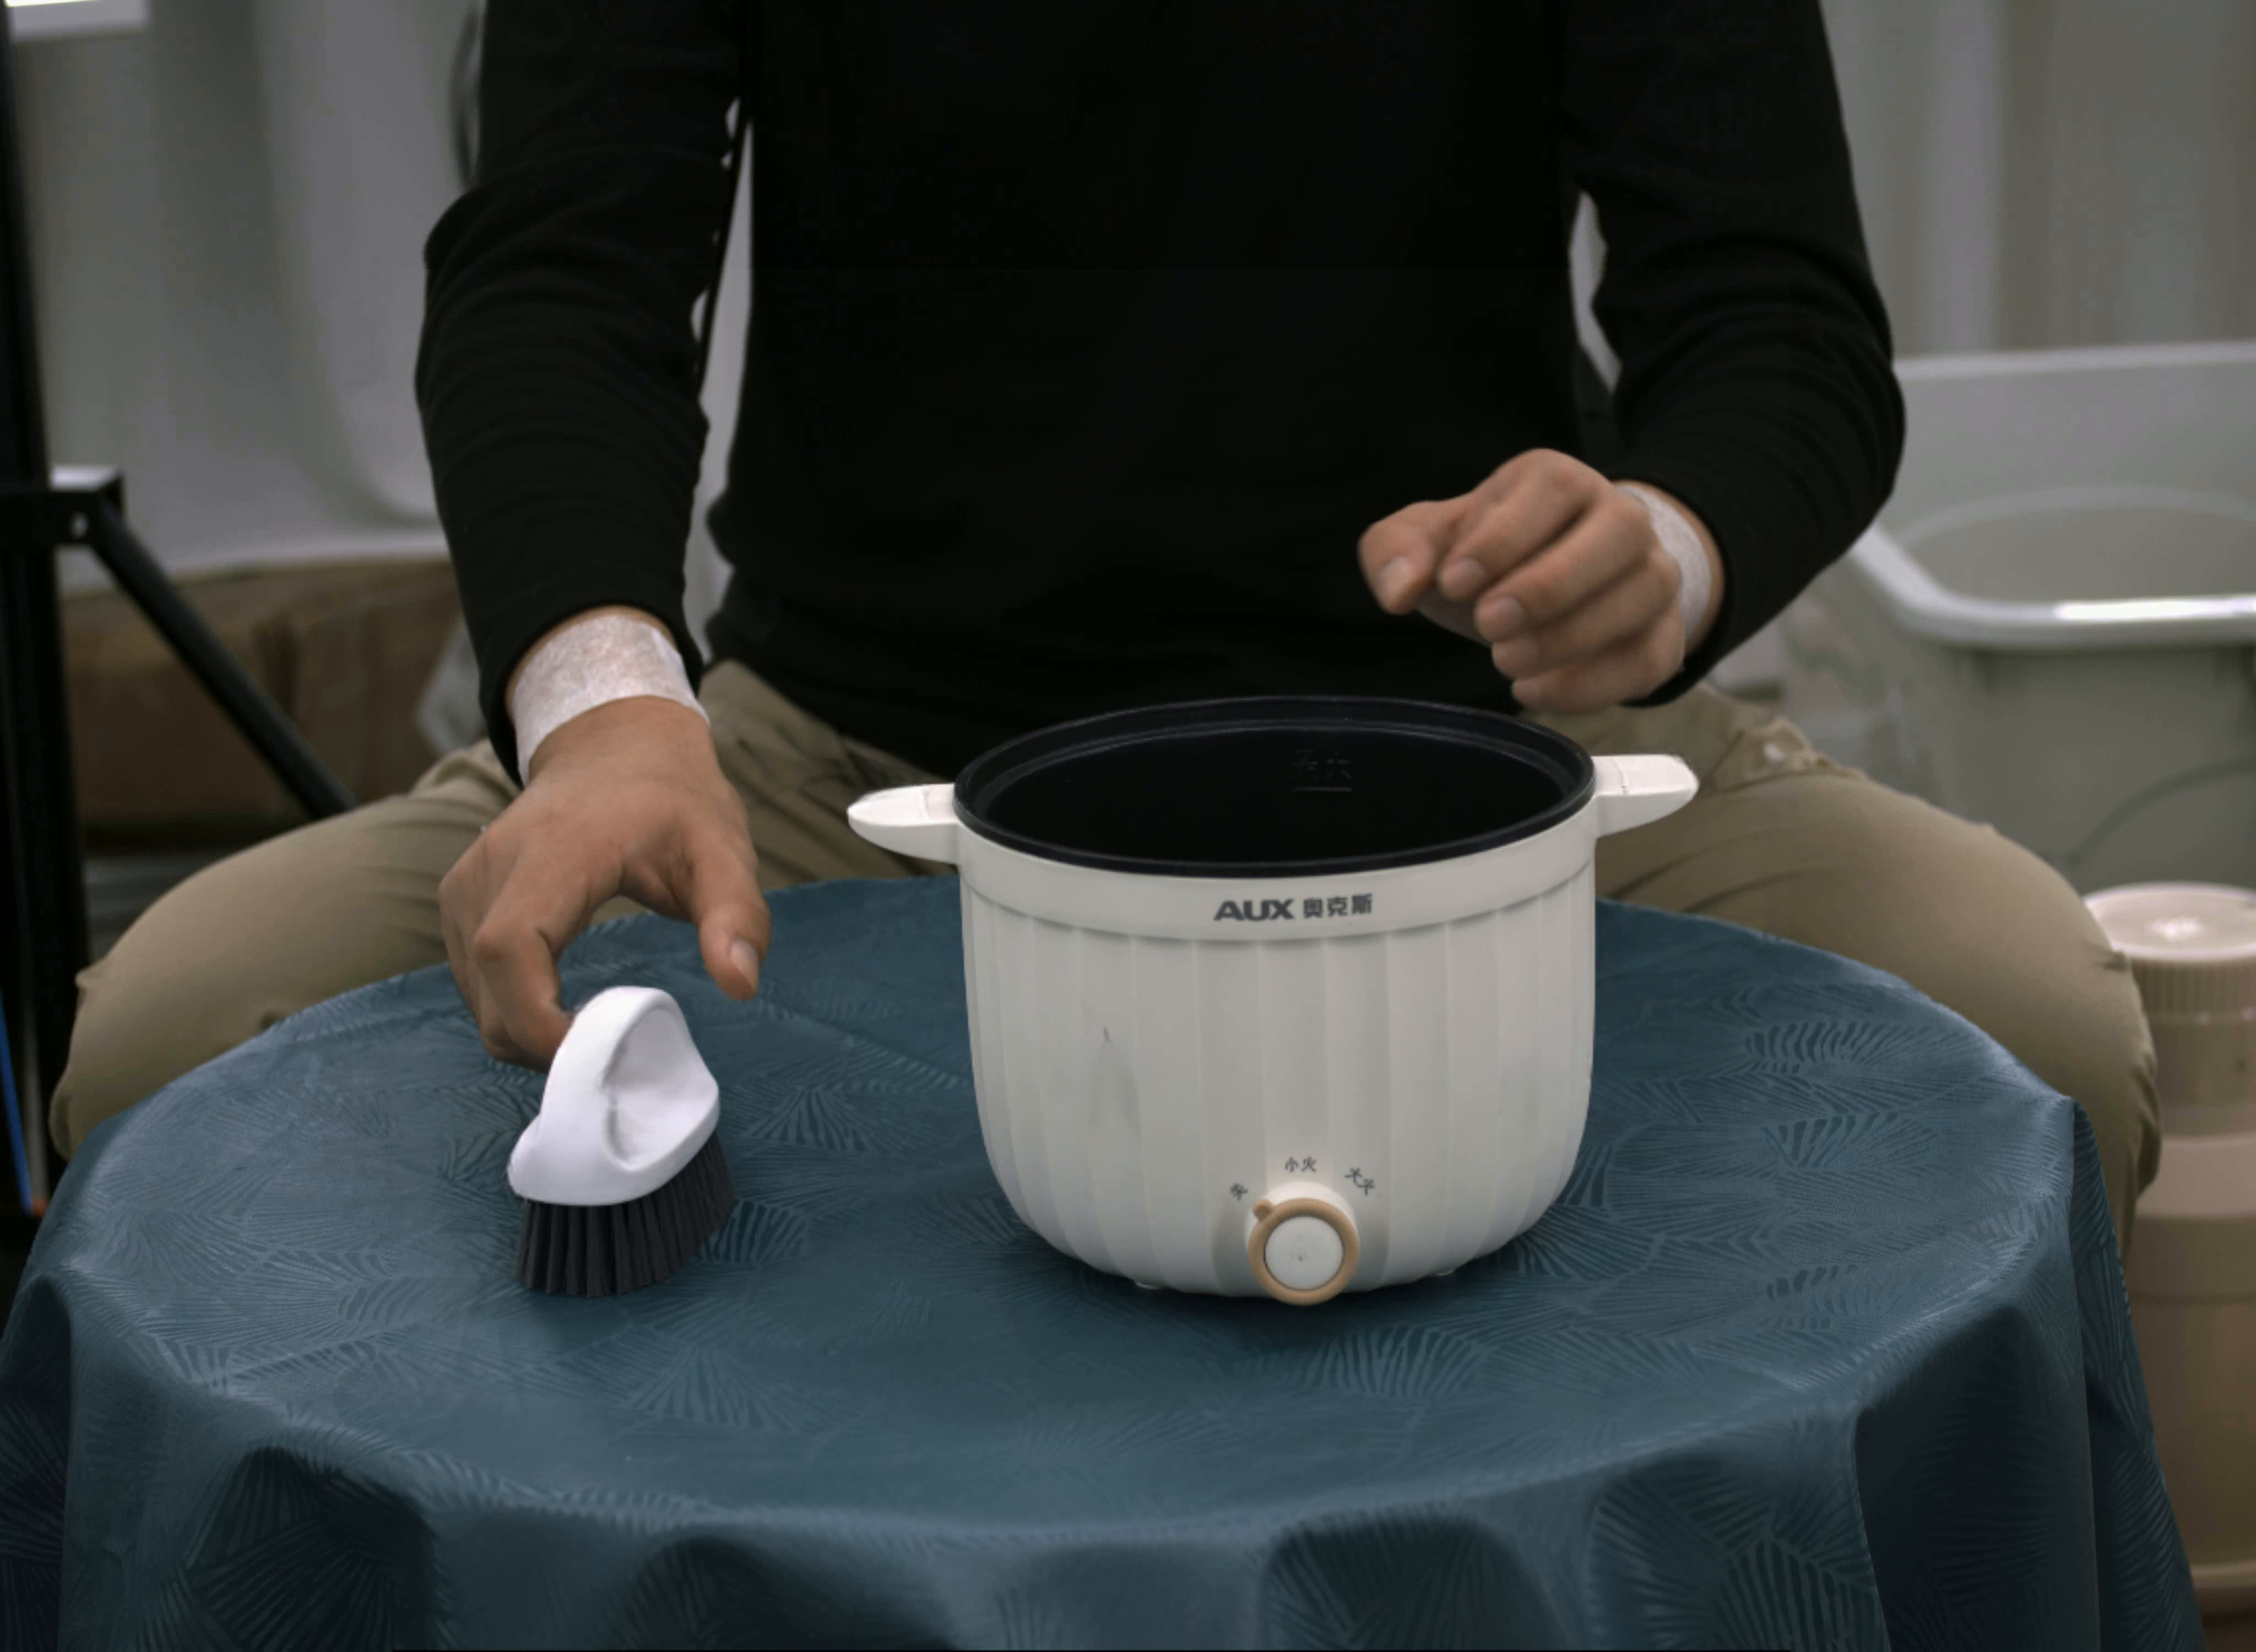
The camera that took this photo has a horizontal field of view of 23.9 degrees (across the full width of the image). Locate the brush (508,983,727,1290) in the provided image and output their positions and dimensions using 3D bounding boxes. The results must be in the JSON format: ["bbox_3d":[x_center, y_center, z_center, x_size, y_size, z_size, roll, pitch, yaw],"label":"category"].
[{"bbox_3d":[-0.147,0.084,1.533,0.050,0.072,0.098,2,16,13],"label":"brush"}]

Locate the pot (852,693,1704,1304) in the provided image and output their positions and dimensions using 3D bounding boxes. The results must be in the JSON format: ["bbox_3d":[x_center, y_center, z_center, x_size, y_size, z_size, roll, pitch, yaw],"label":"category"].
[{"bbox_3d":[0.046,0.051,1.499,0.239,0.143,0.191,-4,13,0],"label":"pot"}]
